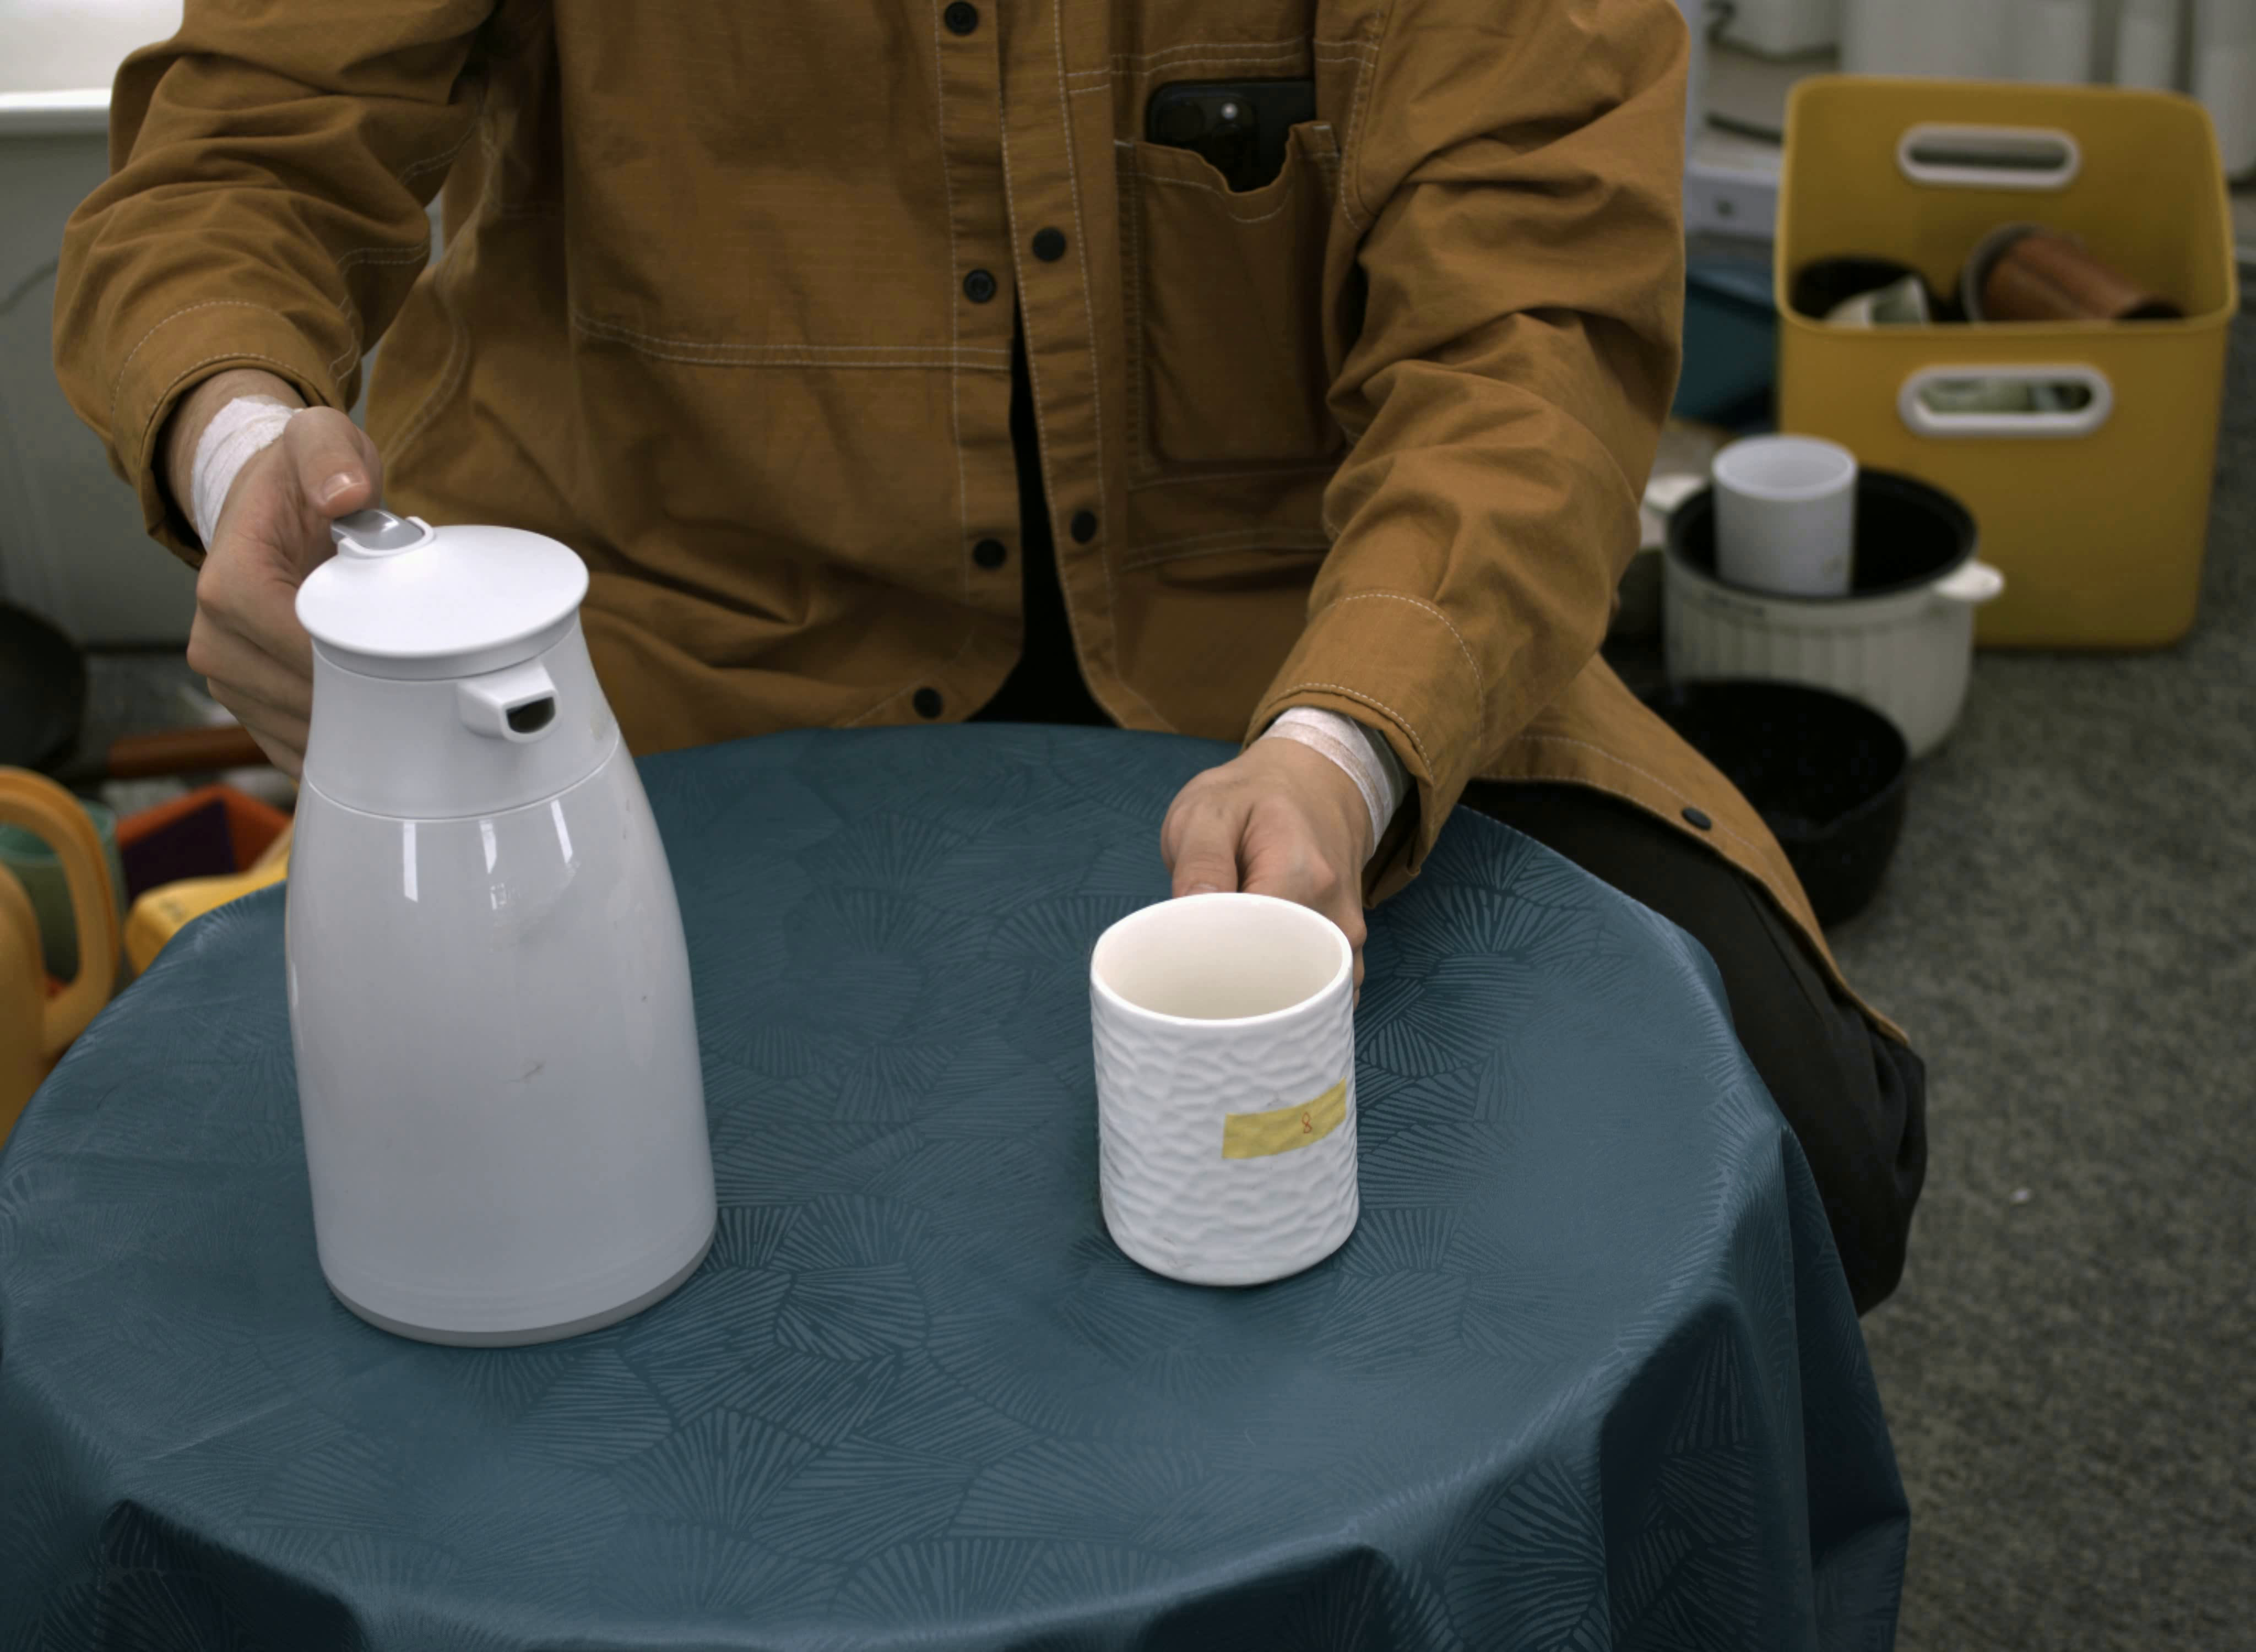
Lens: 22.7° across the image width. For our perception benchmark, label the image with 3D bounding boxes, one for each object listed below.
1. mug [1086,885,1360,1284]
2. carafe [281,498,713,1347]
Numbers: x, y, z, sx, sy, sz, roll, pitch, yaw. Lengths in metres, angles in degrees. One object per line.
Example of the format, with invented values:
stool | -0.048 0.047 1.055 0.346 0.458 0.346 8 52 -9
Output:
mug | 0.028 0.077 1.828 0.085 0.101 0.120 -8 29 -9
carafe | -0.219 0.021 1.809 0.133 0.246 0.168 -18 30 -27
